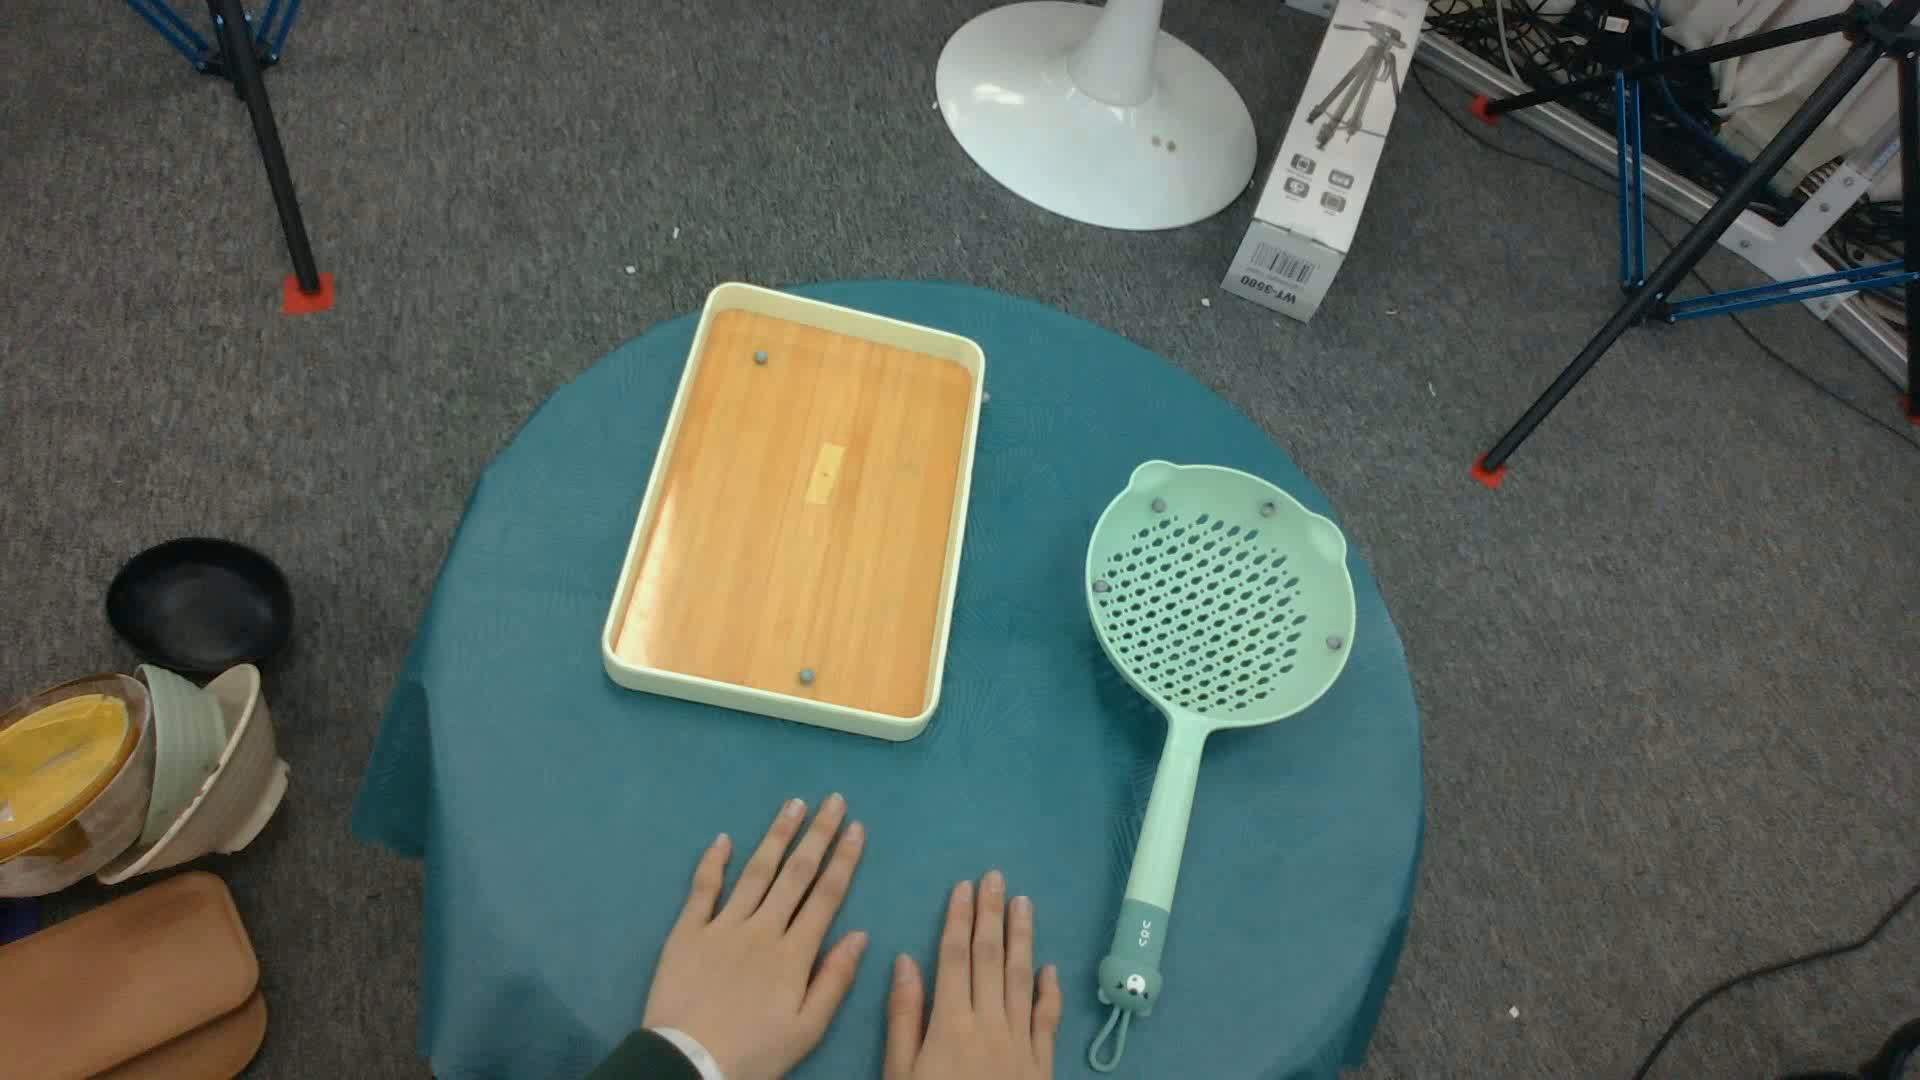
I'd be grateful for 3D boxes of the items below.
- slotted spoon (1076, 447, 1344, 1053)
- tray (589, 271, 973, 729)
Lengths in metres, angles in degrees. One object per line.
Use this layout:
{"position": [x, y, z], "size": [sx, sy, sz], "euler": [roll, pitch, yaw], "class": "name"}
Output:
{"position": [0.122, 0.108, 0.790], "size": [0.169, 0.075, 0.360], "euler": [19, 54, -1], "class": "slotted spoon"}
{"position": [-0.099, -0.035, 0.850], "size": [0.191, 0.027, 0.301], "euler": [13, 54, -7], "class": "tray"}
